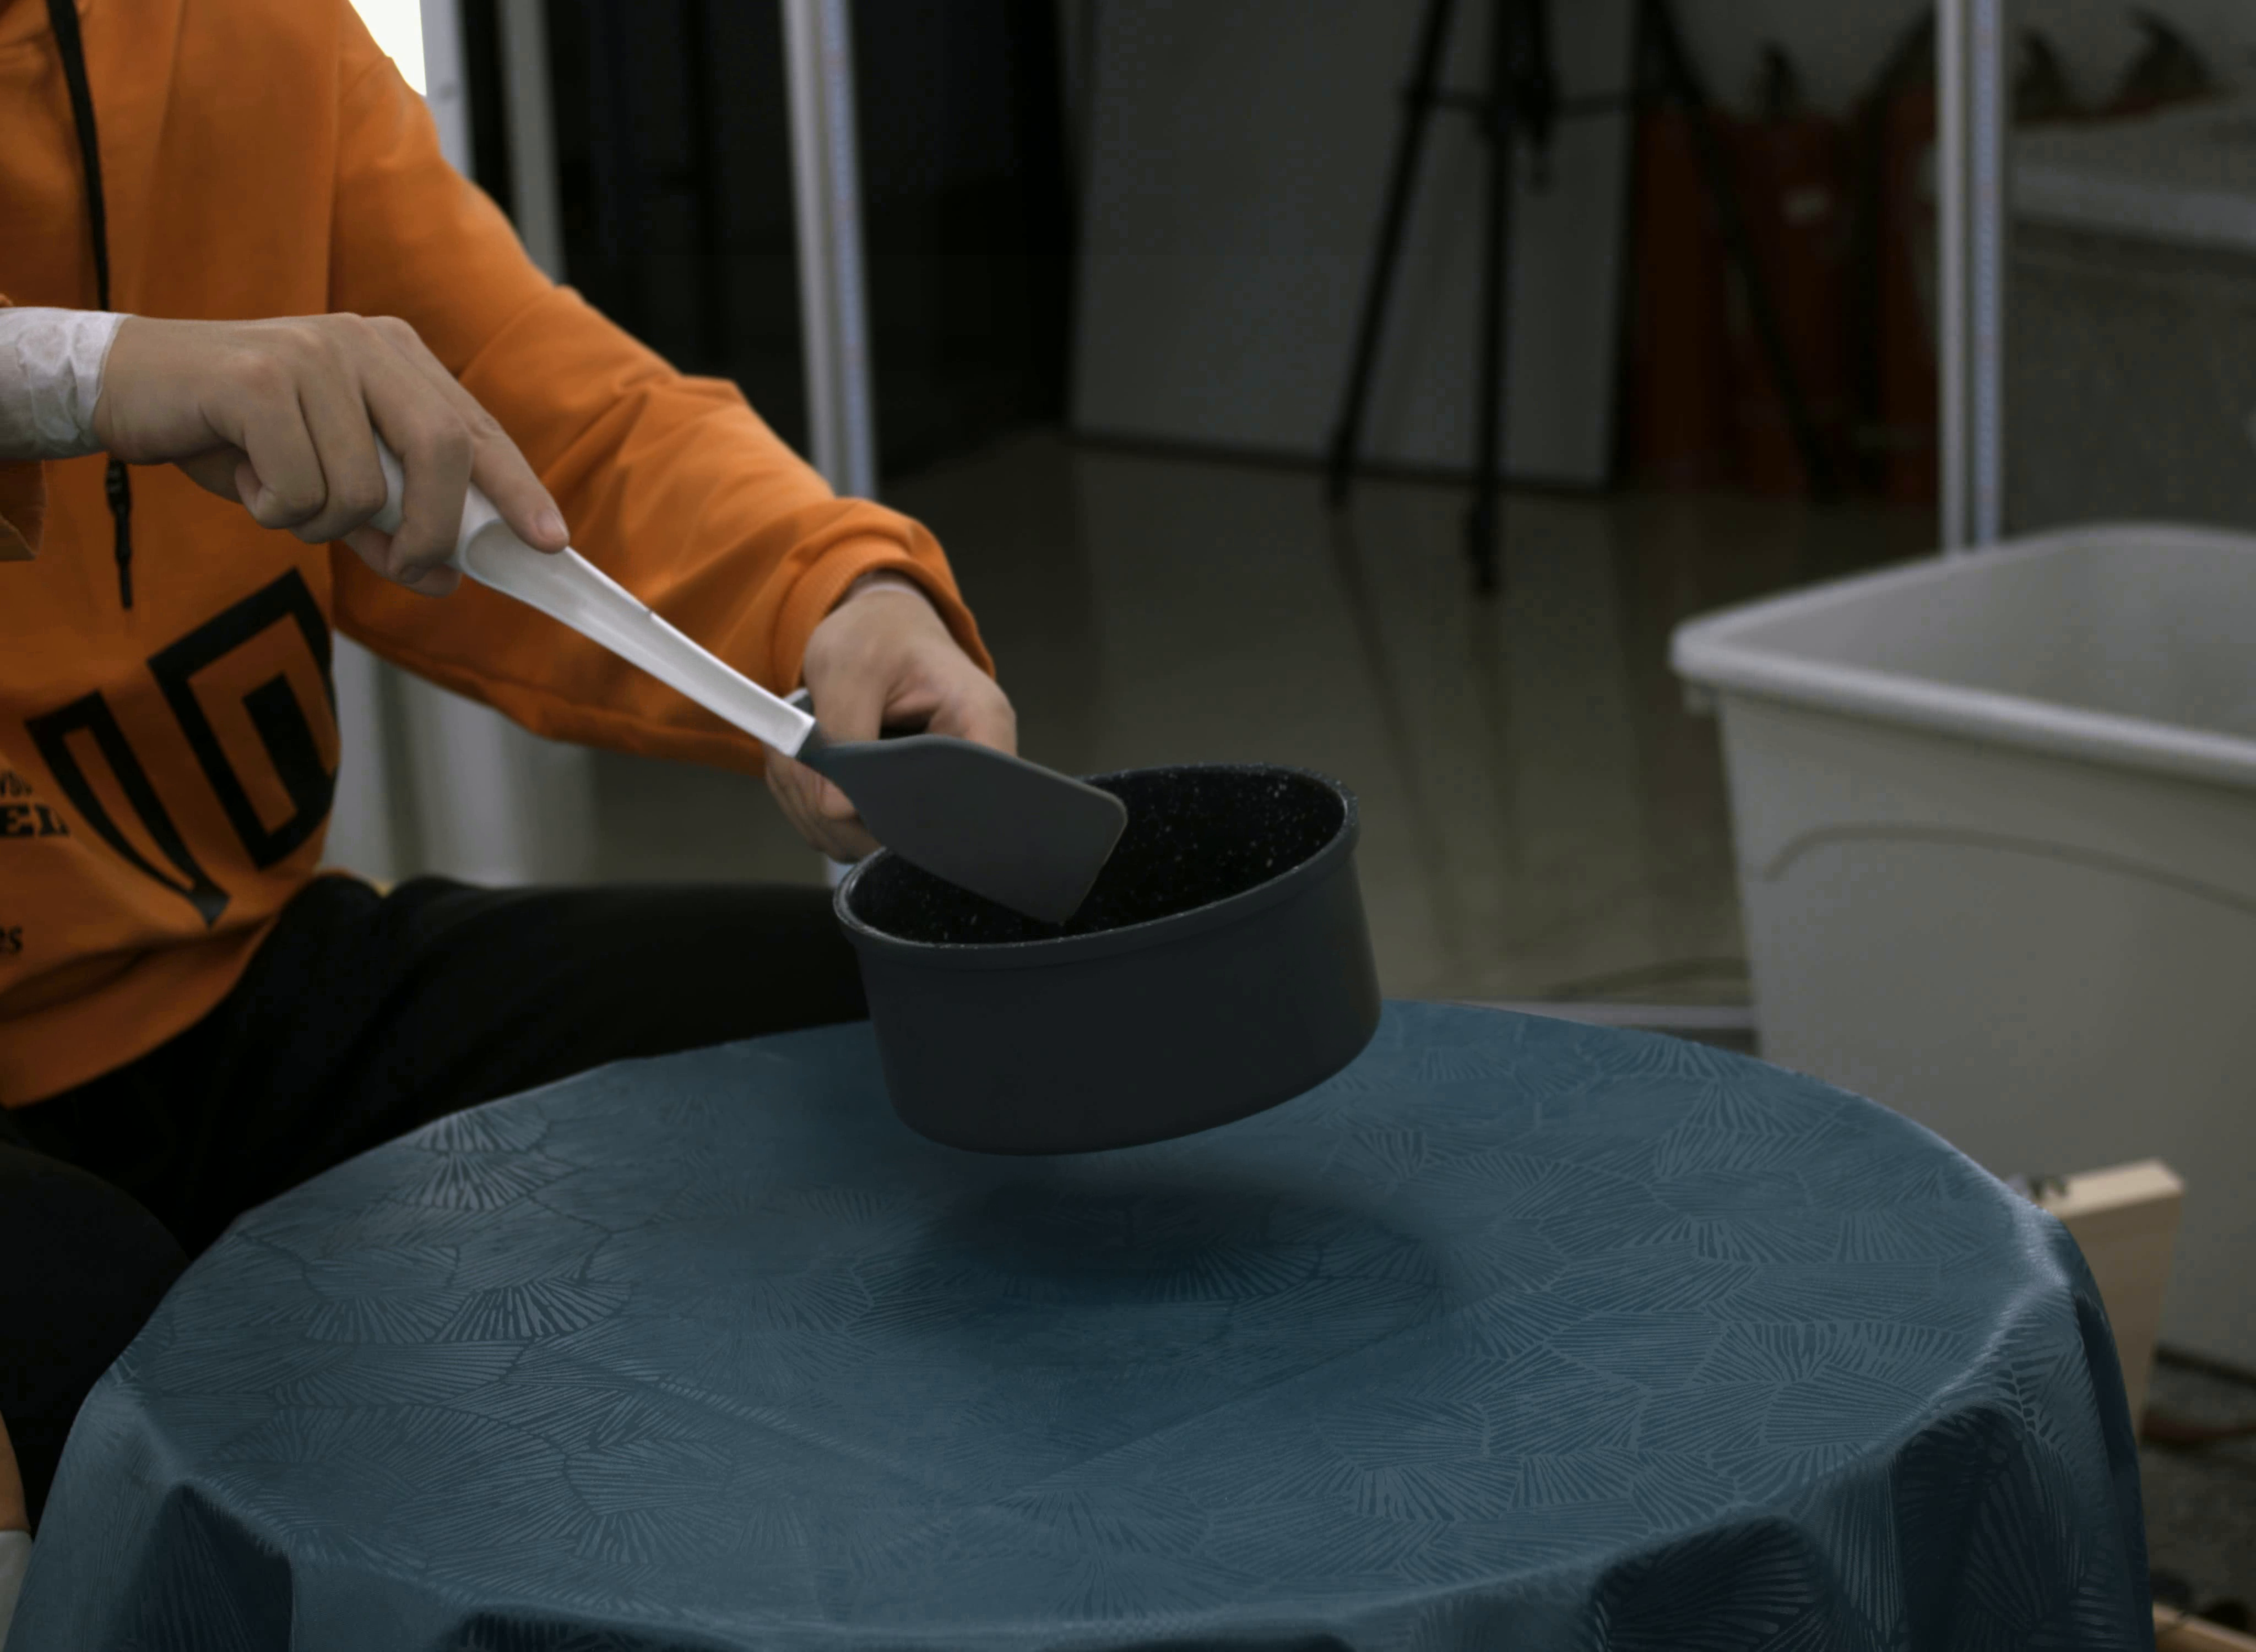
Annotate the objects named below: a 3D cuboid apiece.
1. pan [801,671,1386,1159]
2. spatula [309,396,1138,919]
[{"bbox_3d":[-0.035,0.022,1.793,0.169,0.087,0.332,-17,18,-19],"label":"pan"},{"bbox_3d":[-0.130,-0.052,1.733,0.285,0.059,0.032,30,19,-1],"label":"spatula"}]
